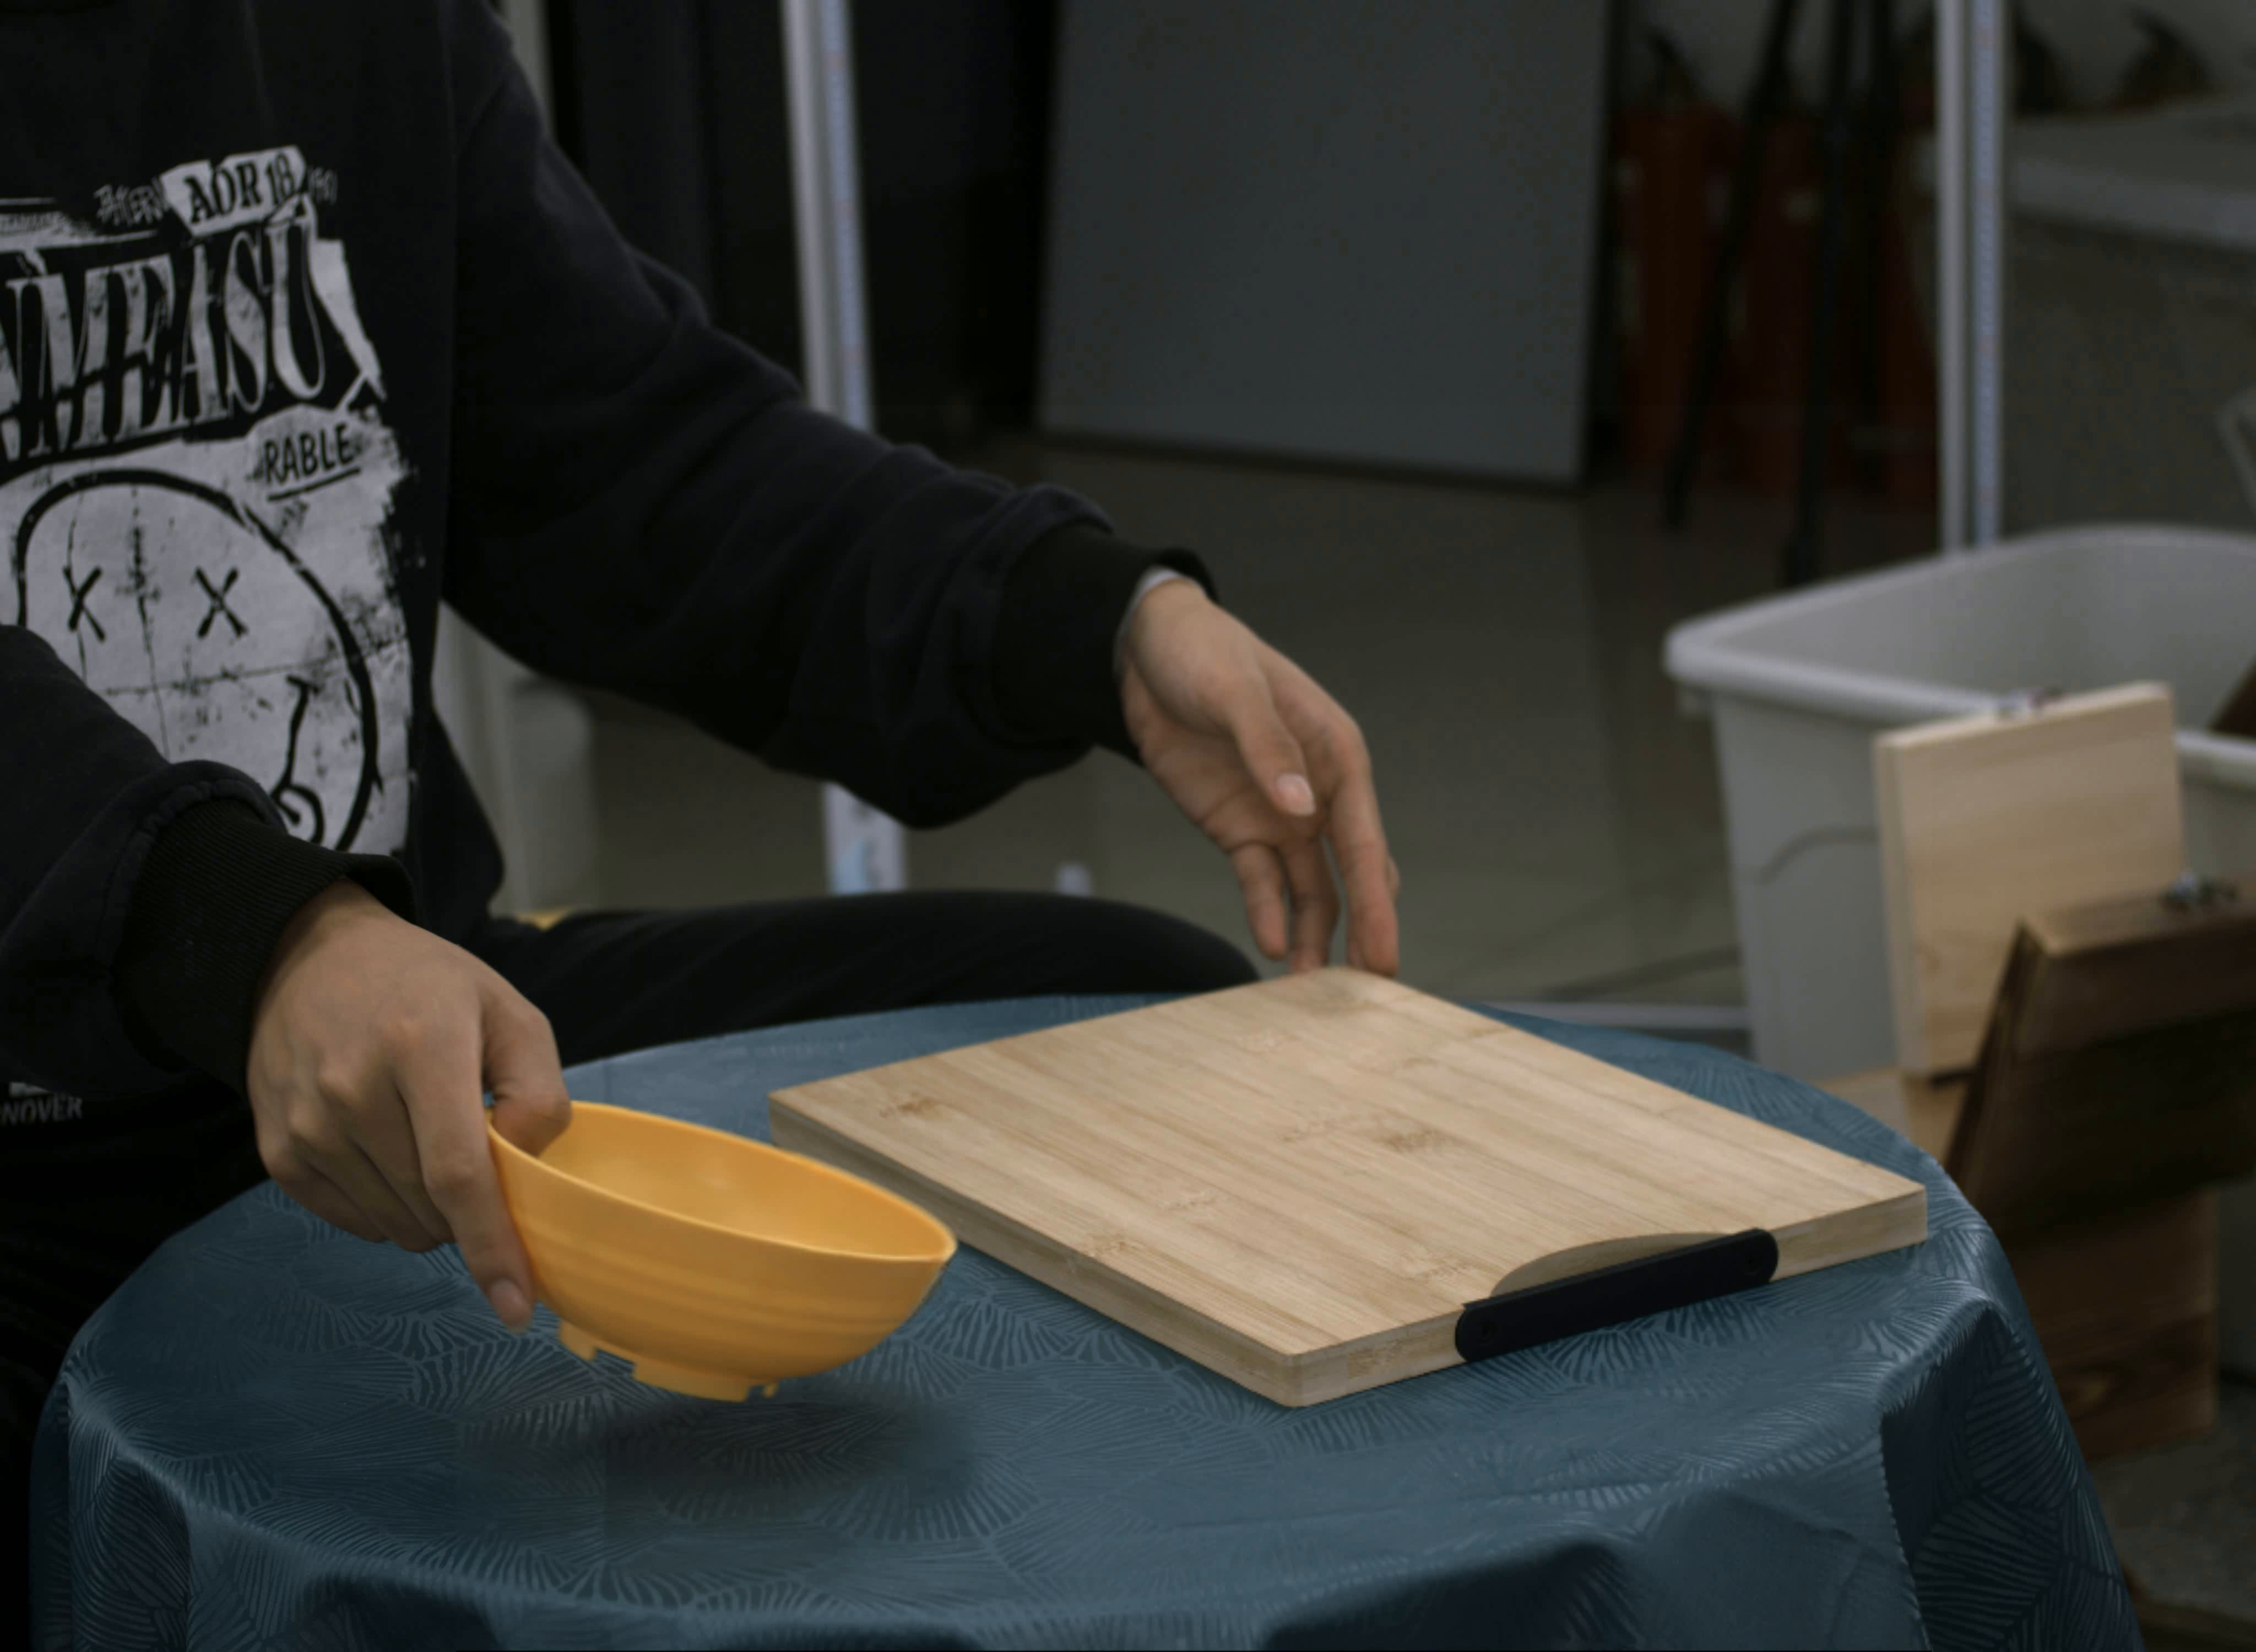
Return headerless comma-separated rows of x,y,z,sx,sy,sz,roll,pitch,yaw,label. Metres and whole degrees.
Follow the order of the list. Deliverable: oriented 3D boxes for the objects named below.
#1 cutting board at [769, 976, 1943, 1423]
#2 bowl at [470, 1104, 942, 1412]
0.065,0.113,1.752,0.245,0.024,0.352,-12,16,-29,cutting board
-0.129,0.131,1.563,0.143,0.061,0.145,17,1,-1,bowl
